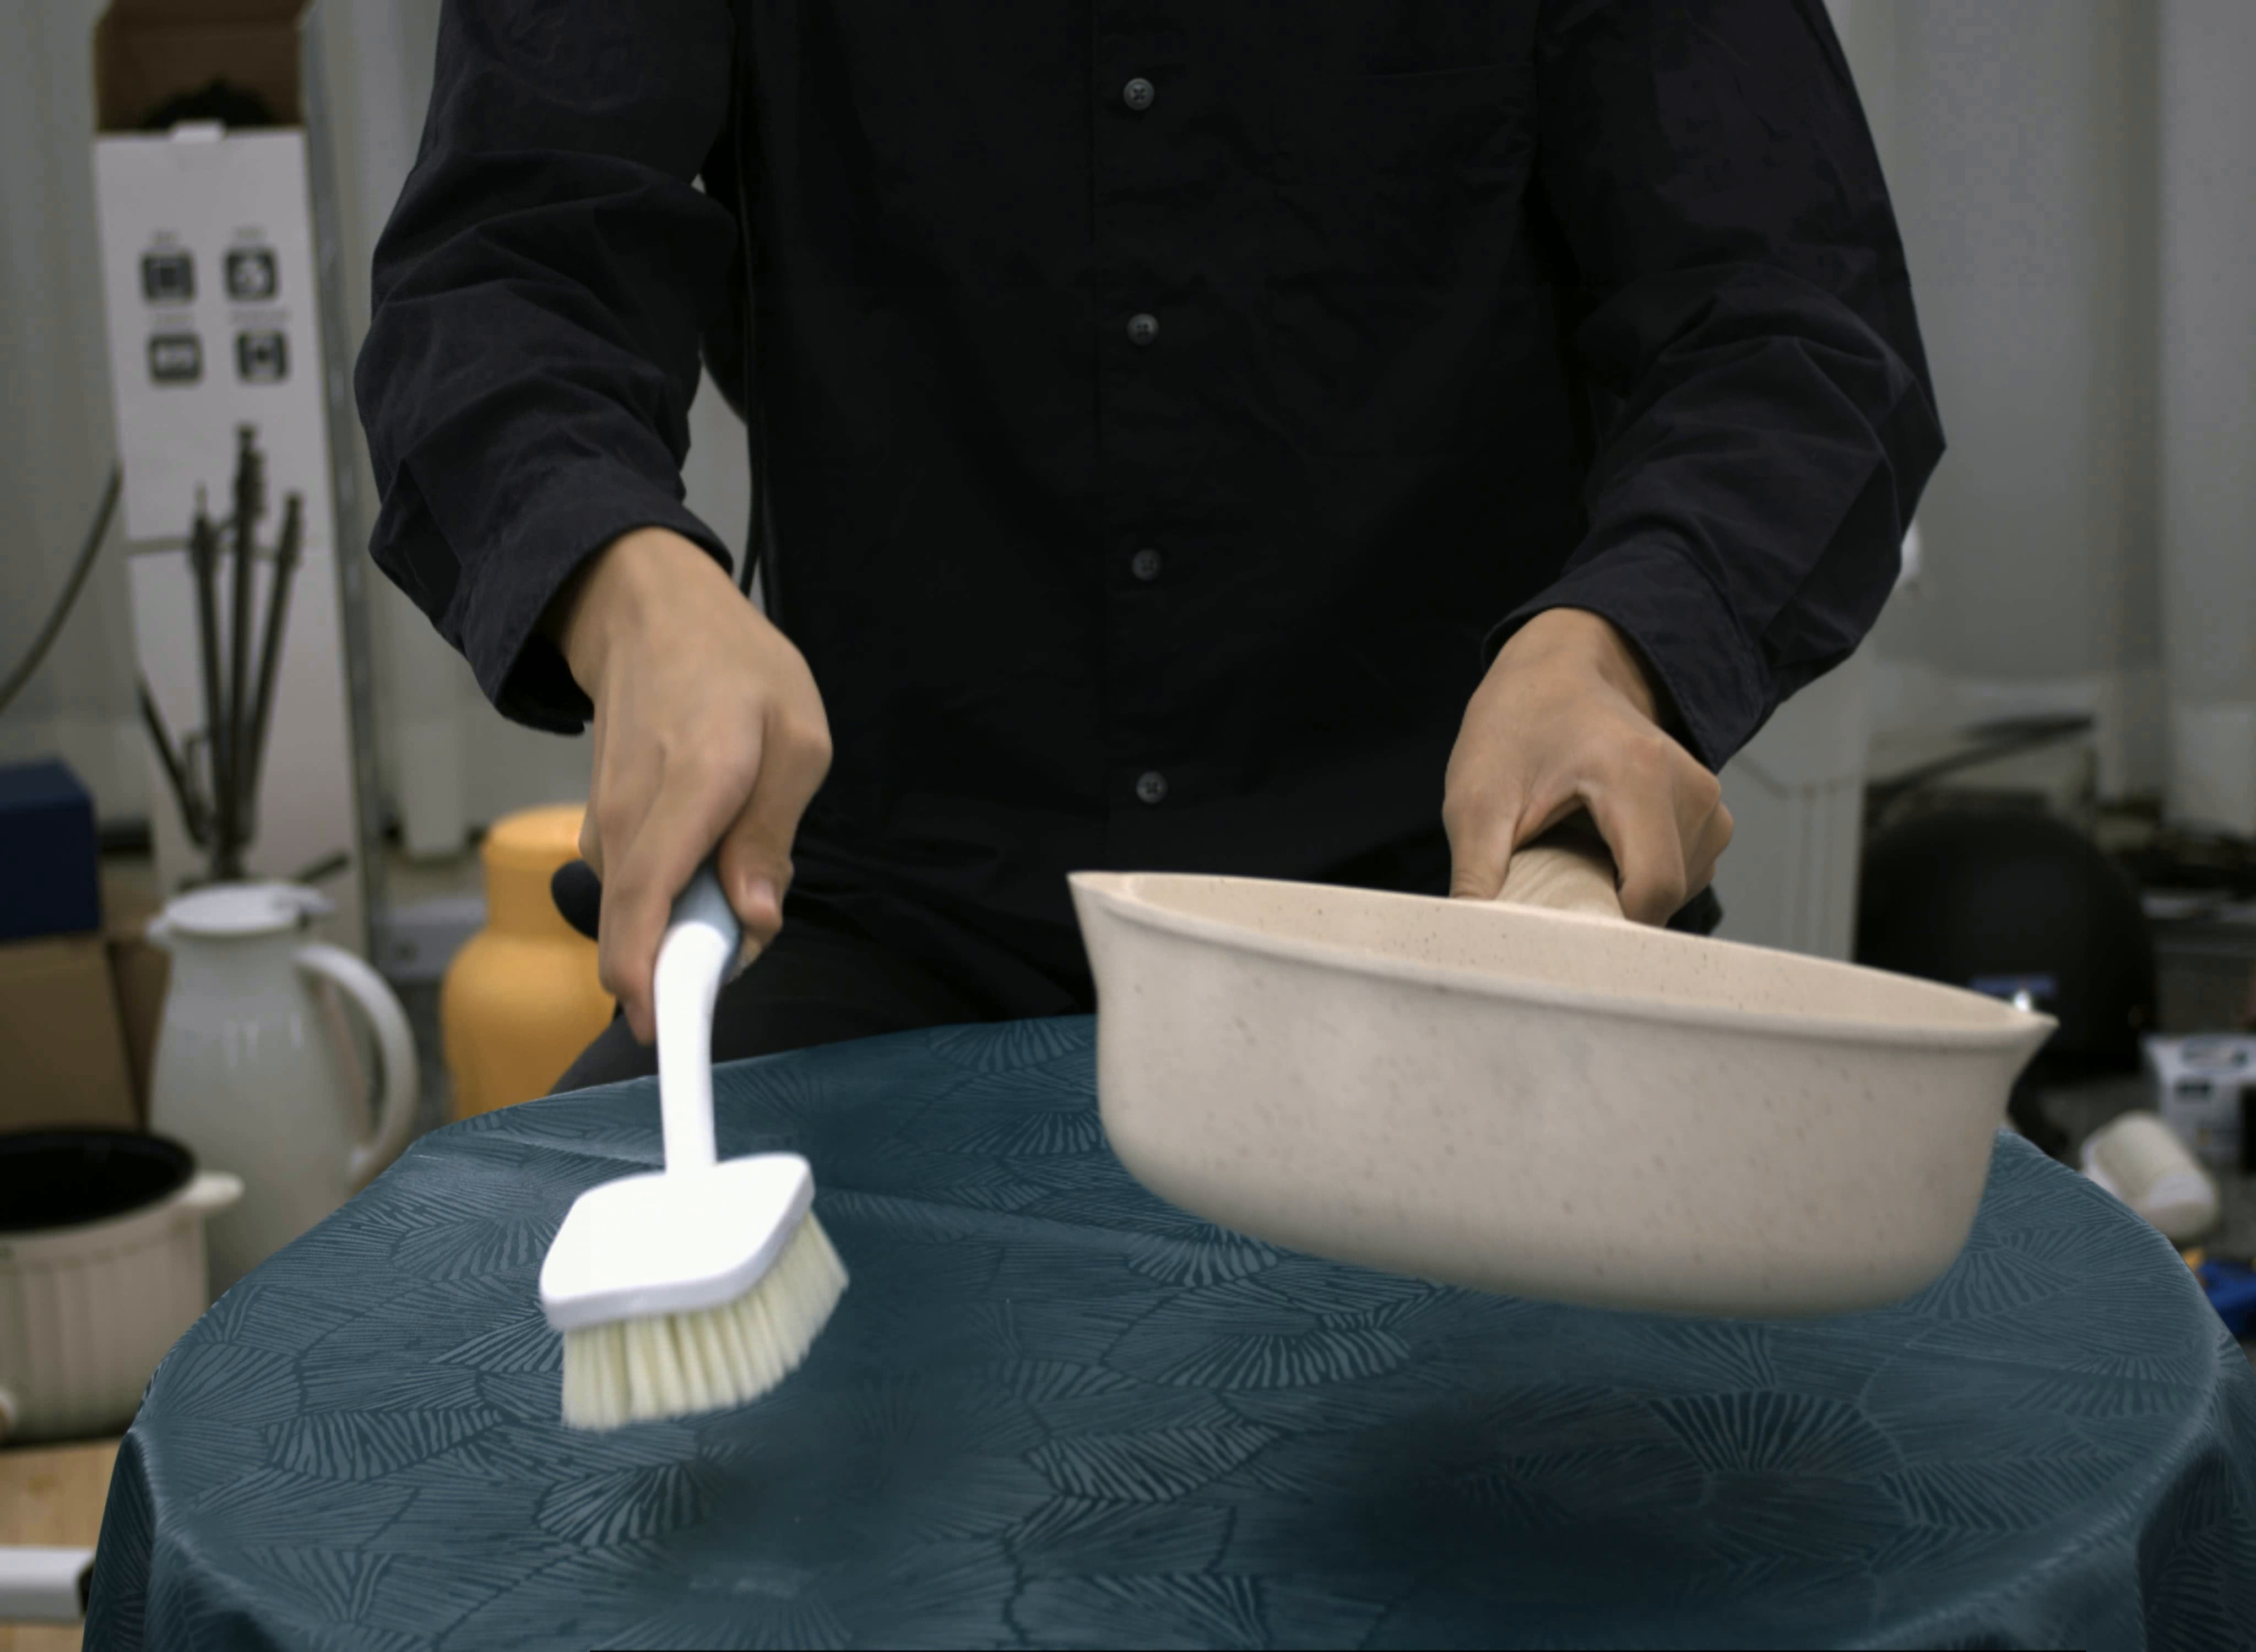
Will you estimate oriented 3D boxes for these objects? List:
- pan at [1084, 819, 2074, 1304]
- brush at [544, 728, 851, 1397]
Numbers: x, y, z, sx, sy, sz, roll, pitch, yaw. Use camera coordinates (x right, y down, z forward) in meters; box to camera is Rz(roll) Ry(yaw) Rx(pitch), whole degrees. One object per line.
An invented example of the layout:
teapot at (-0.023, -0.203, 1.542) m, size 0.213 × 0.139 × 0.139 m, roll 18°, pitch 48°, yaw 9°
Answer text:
pan at (0.120, 0.058, 1.533) m, size 0.263 × 0.102 × 0.435 m, roll 7°, pitch 3°, yaw 3°
brush at (-0.111, 0.077, 1.561) m, size 0.082 × 0.084 × 0.329 m, roll 23°, pitch 24°, yaw -8°
